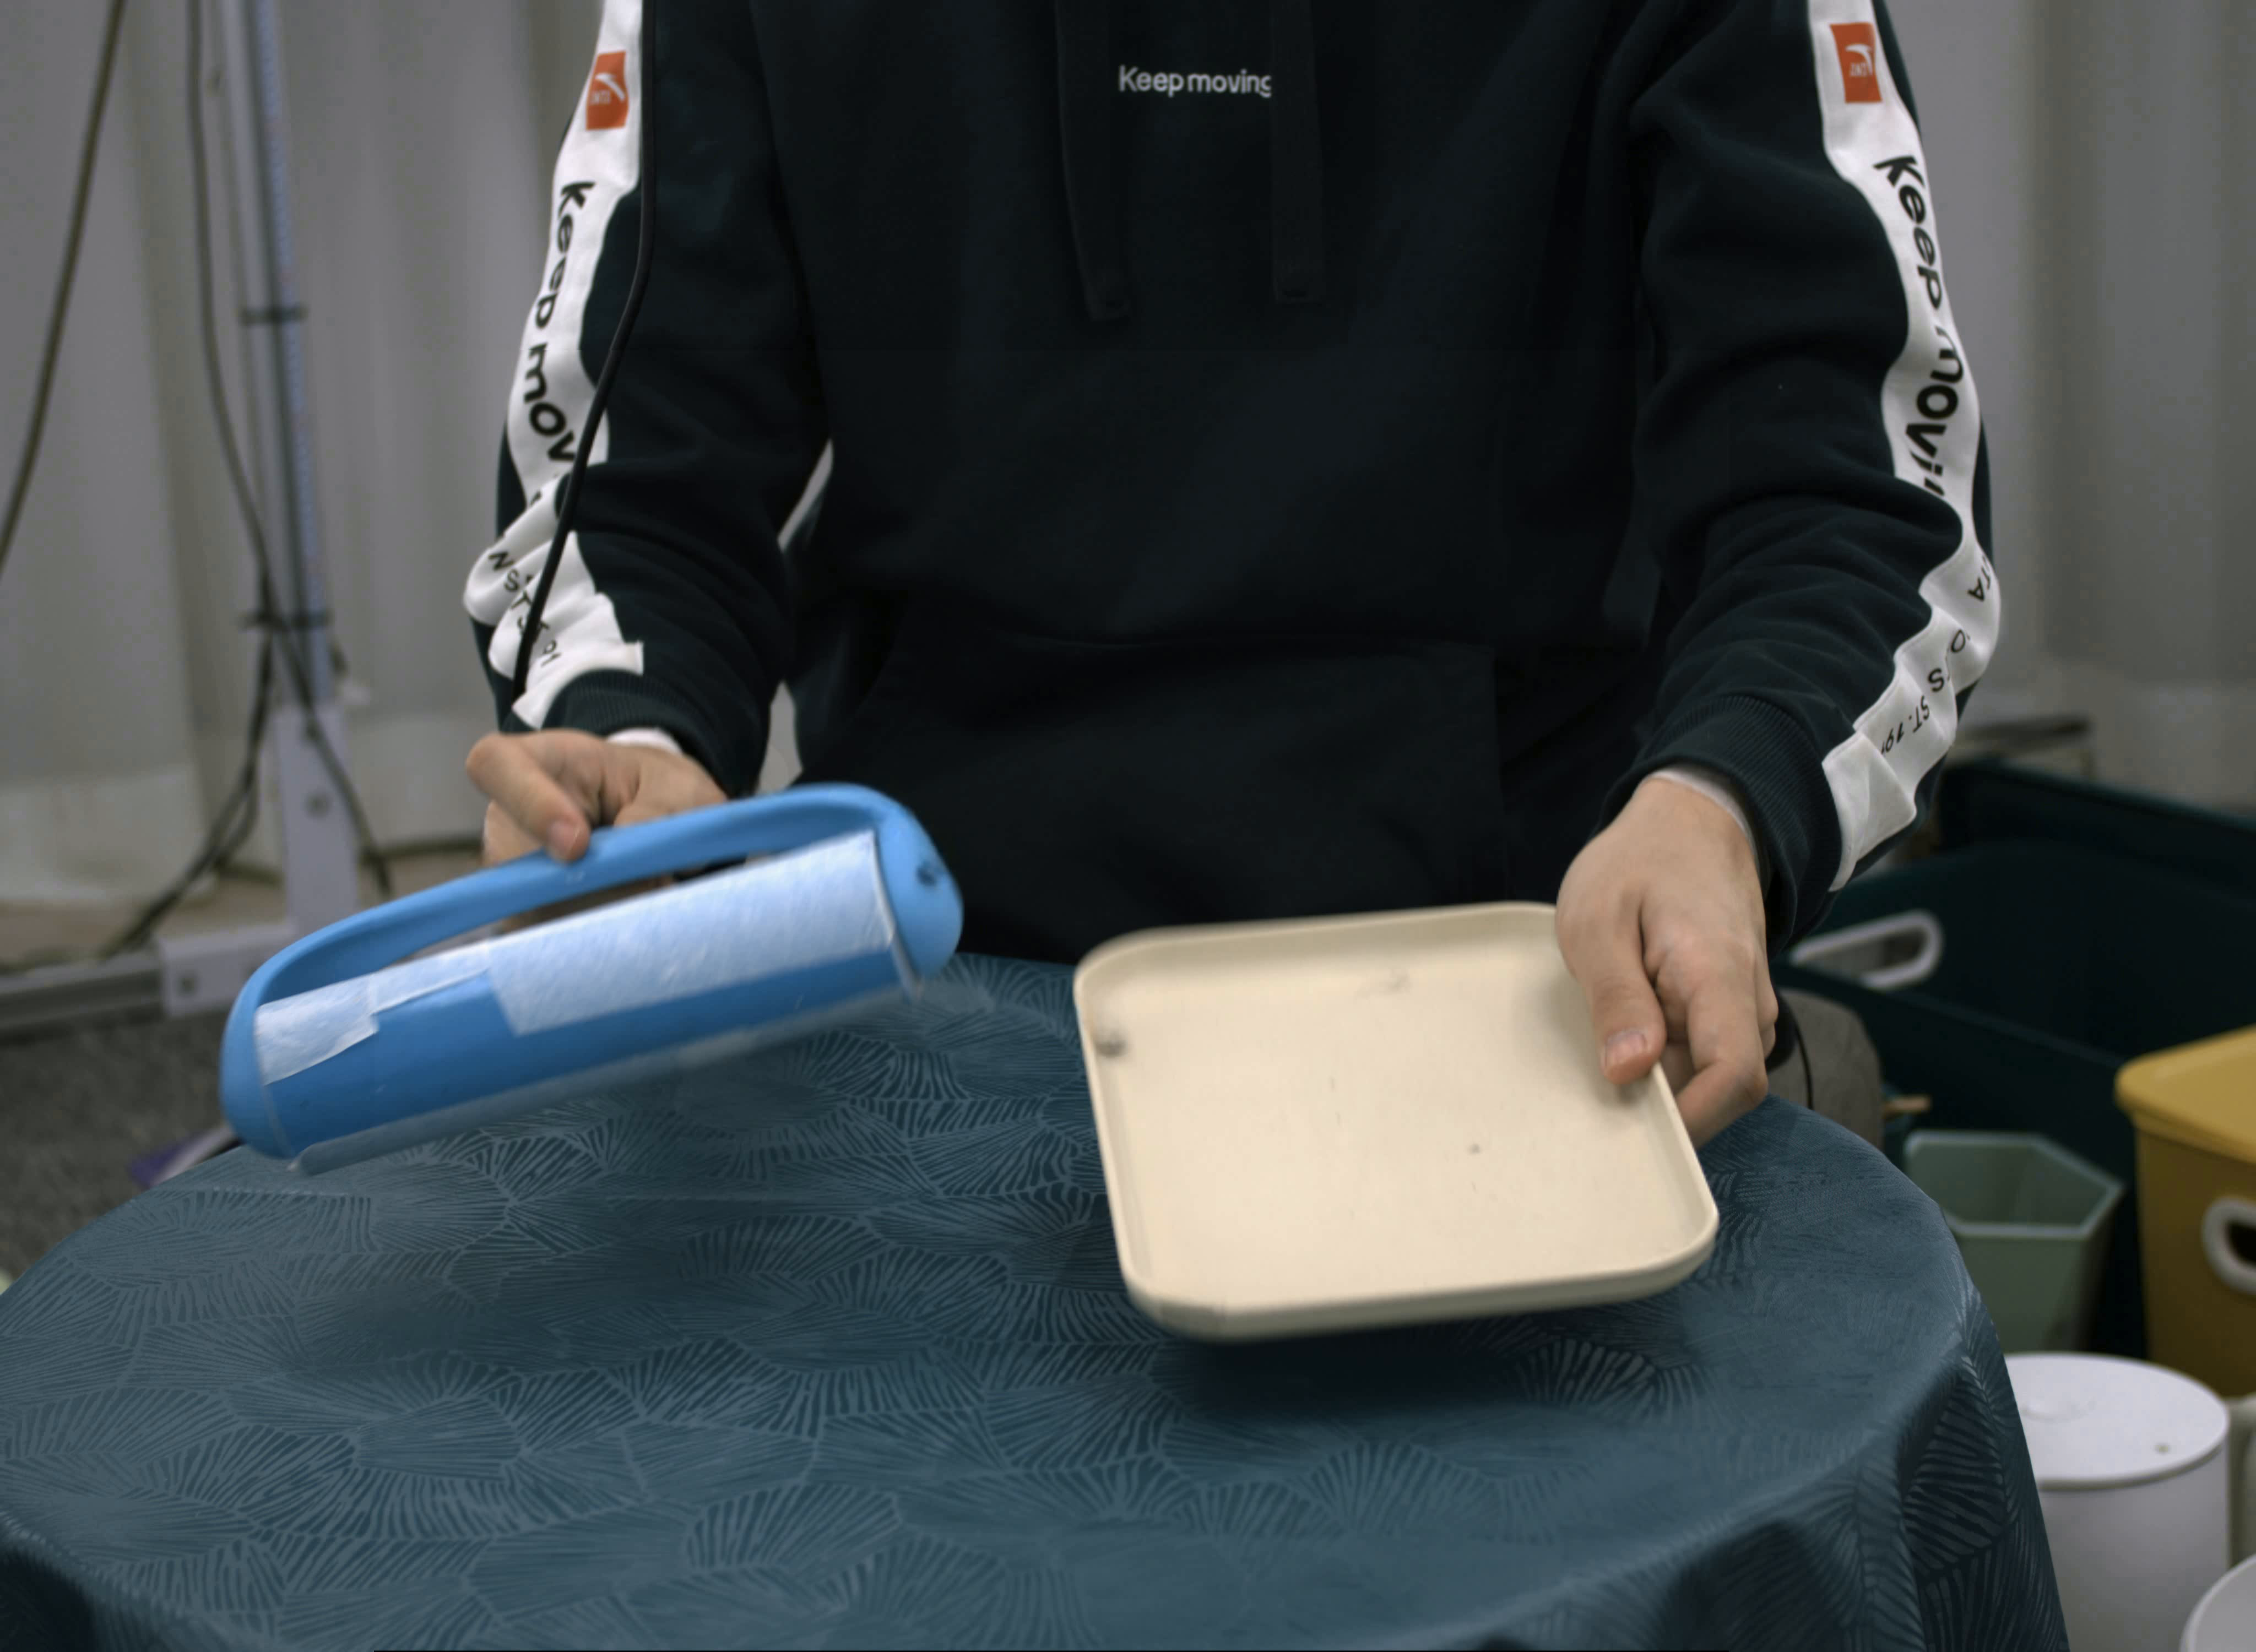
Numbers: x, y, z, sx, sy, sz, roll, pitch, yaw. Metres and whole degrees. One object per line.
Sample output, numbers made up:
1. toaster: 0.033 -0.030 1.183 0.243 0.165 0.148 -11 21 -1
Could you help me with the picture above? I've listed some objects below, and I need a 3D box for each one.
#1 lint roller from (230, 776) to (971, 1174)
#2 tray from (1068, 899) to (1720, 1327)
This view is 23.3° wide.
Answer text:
1. lint roller: -0.161 0.033 1.680 0.228 0.067 0.181 -19 16 1
2. tray: 0.074 0.083 1.613 0.170 0.017 0.242 -3 25 -4
